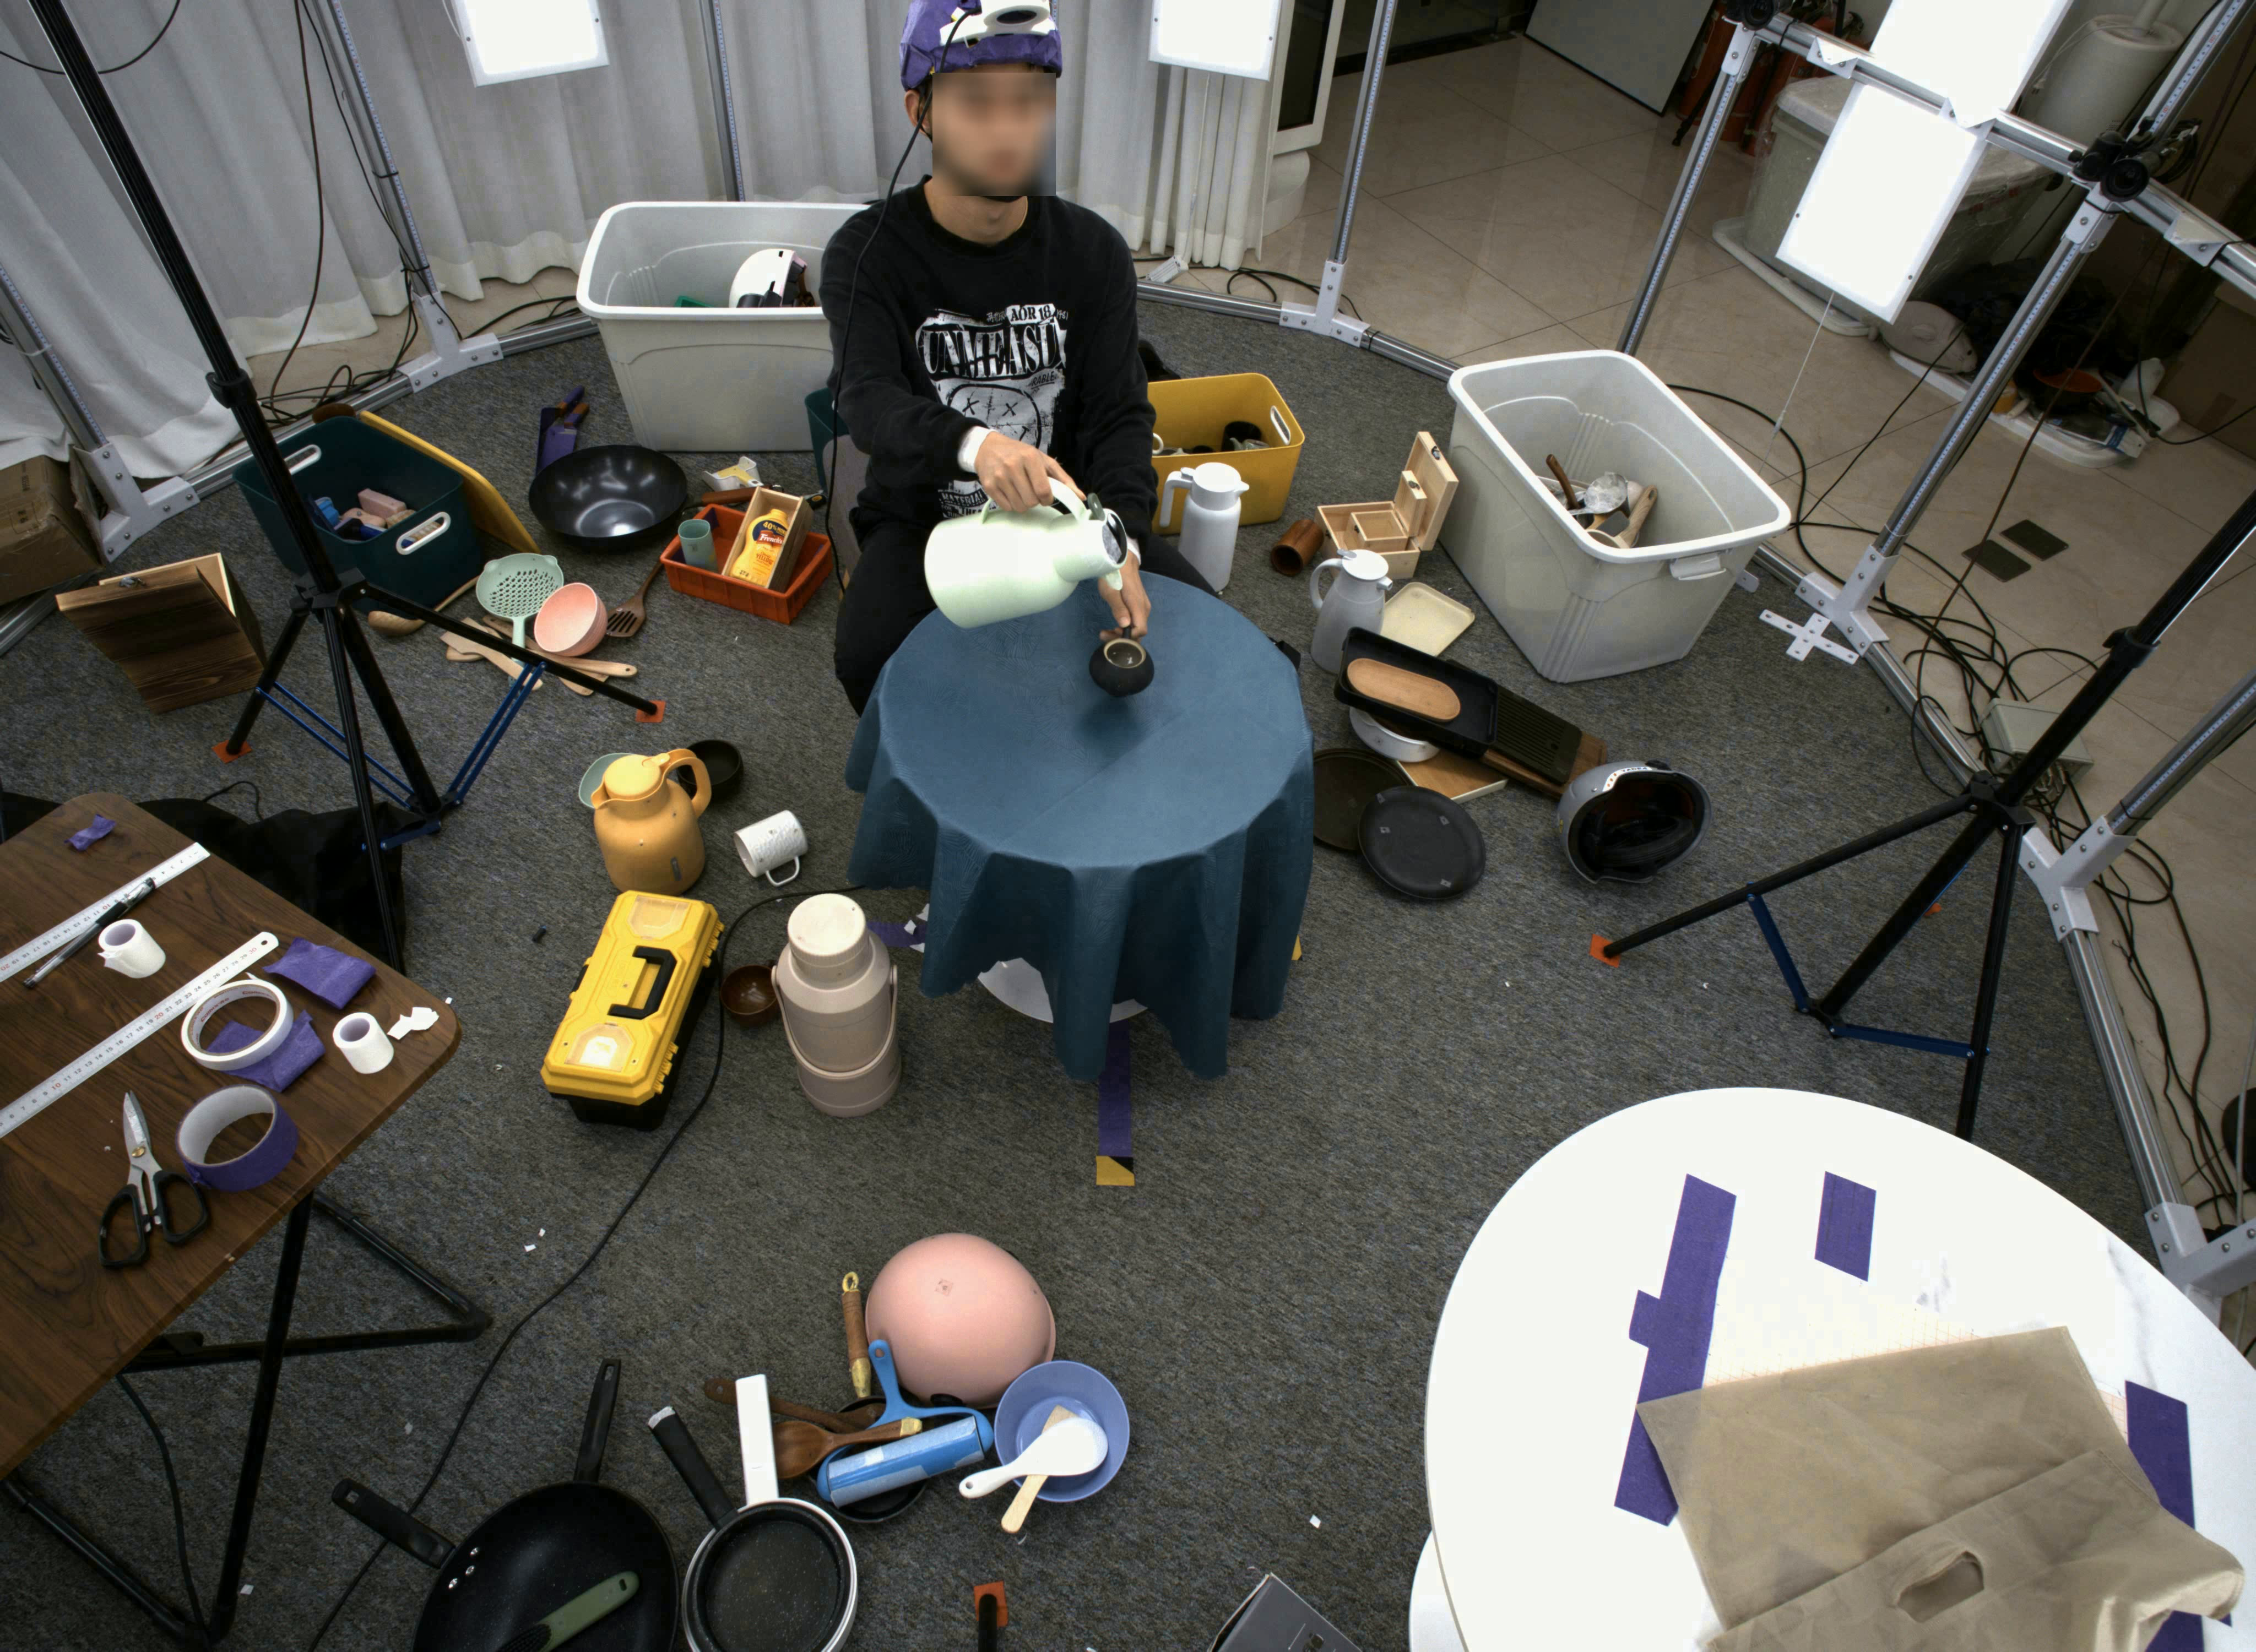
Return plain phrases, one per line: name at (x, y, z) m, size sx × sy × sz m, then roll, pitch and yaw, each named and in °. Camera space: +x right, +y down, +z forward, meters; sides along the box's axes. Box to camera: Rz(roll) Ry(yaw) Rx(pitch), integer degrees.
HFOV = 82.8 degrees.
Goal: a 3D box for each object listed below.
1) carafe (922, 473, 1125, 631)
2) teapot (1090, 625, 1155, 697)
carafe at (-0.135, -0.353, 1.646) m, size 0.256 × 0.183 × 0.147 m, roll -10°, pitch 41°, yaw 33°
teapot at (-0.007, -0.220, 1.765) m, size 0.091 × 0.052 × 0.136 m, roll 10°, pitch 51°, yaw -2°
